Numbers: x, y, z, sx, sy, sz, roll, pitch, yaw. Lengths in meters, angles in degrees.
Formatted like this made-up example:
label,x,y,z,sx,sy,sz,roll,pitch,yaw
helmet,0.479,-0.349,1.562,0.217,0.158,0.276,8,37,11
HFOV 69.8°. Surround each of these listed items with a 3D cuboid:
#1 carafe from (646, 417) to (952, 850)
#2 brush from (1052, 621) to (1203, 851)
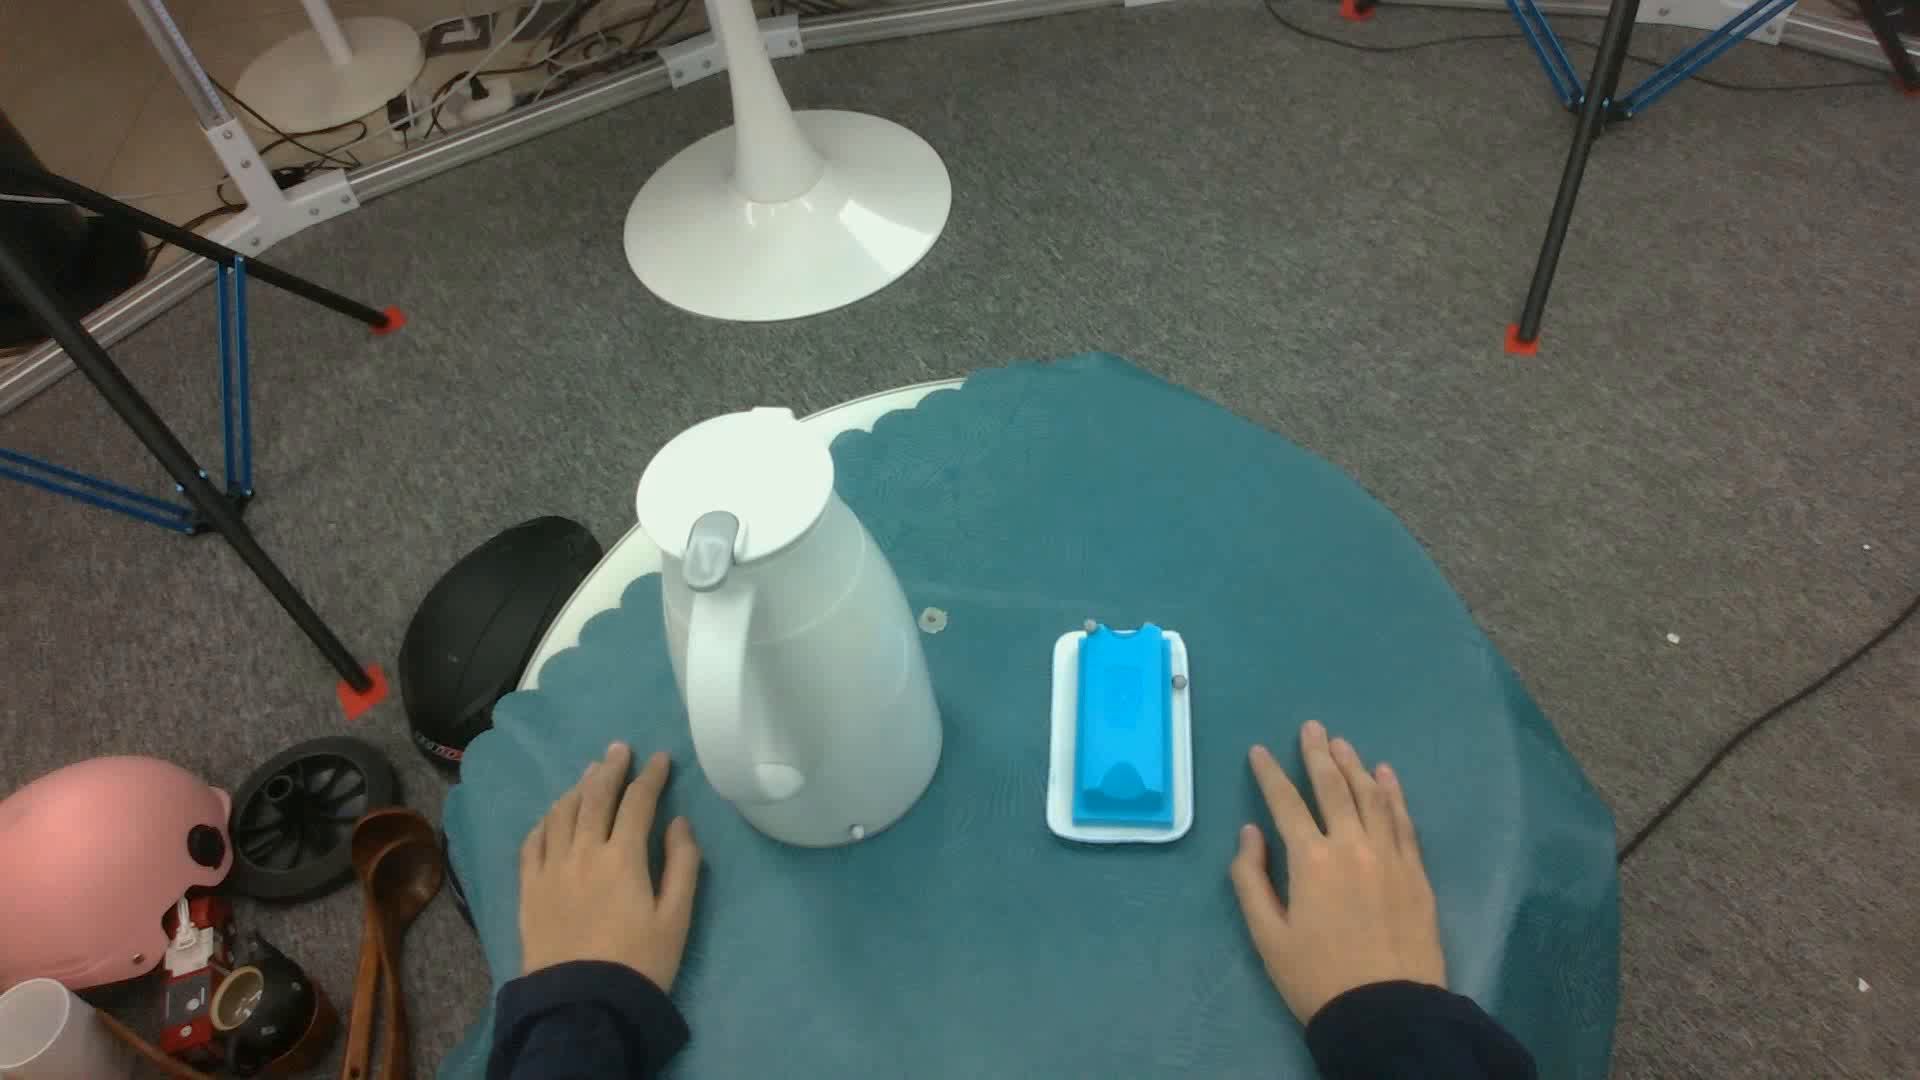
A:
label,x,y,z,sx,sy,sz,roll,pitch,yaw
carafe,-0.087,0.065,0.718,0.132,0.247,0.168,-1,52,9
brush,0.095,0.103,0.779,0.084,0.055,0.144,-2,49,12
